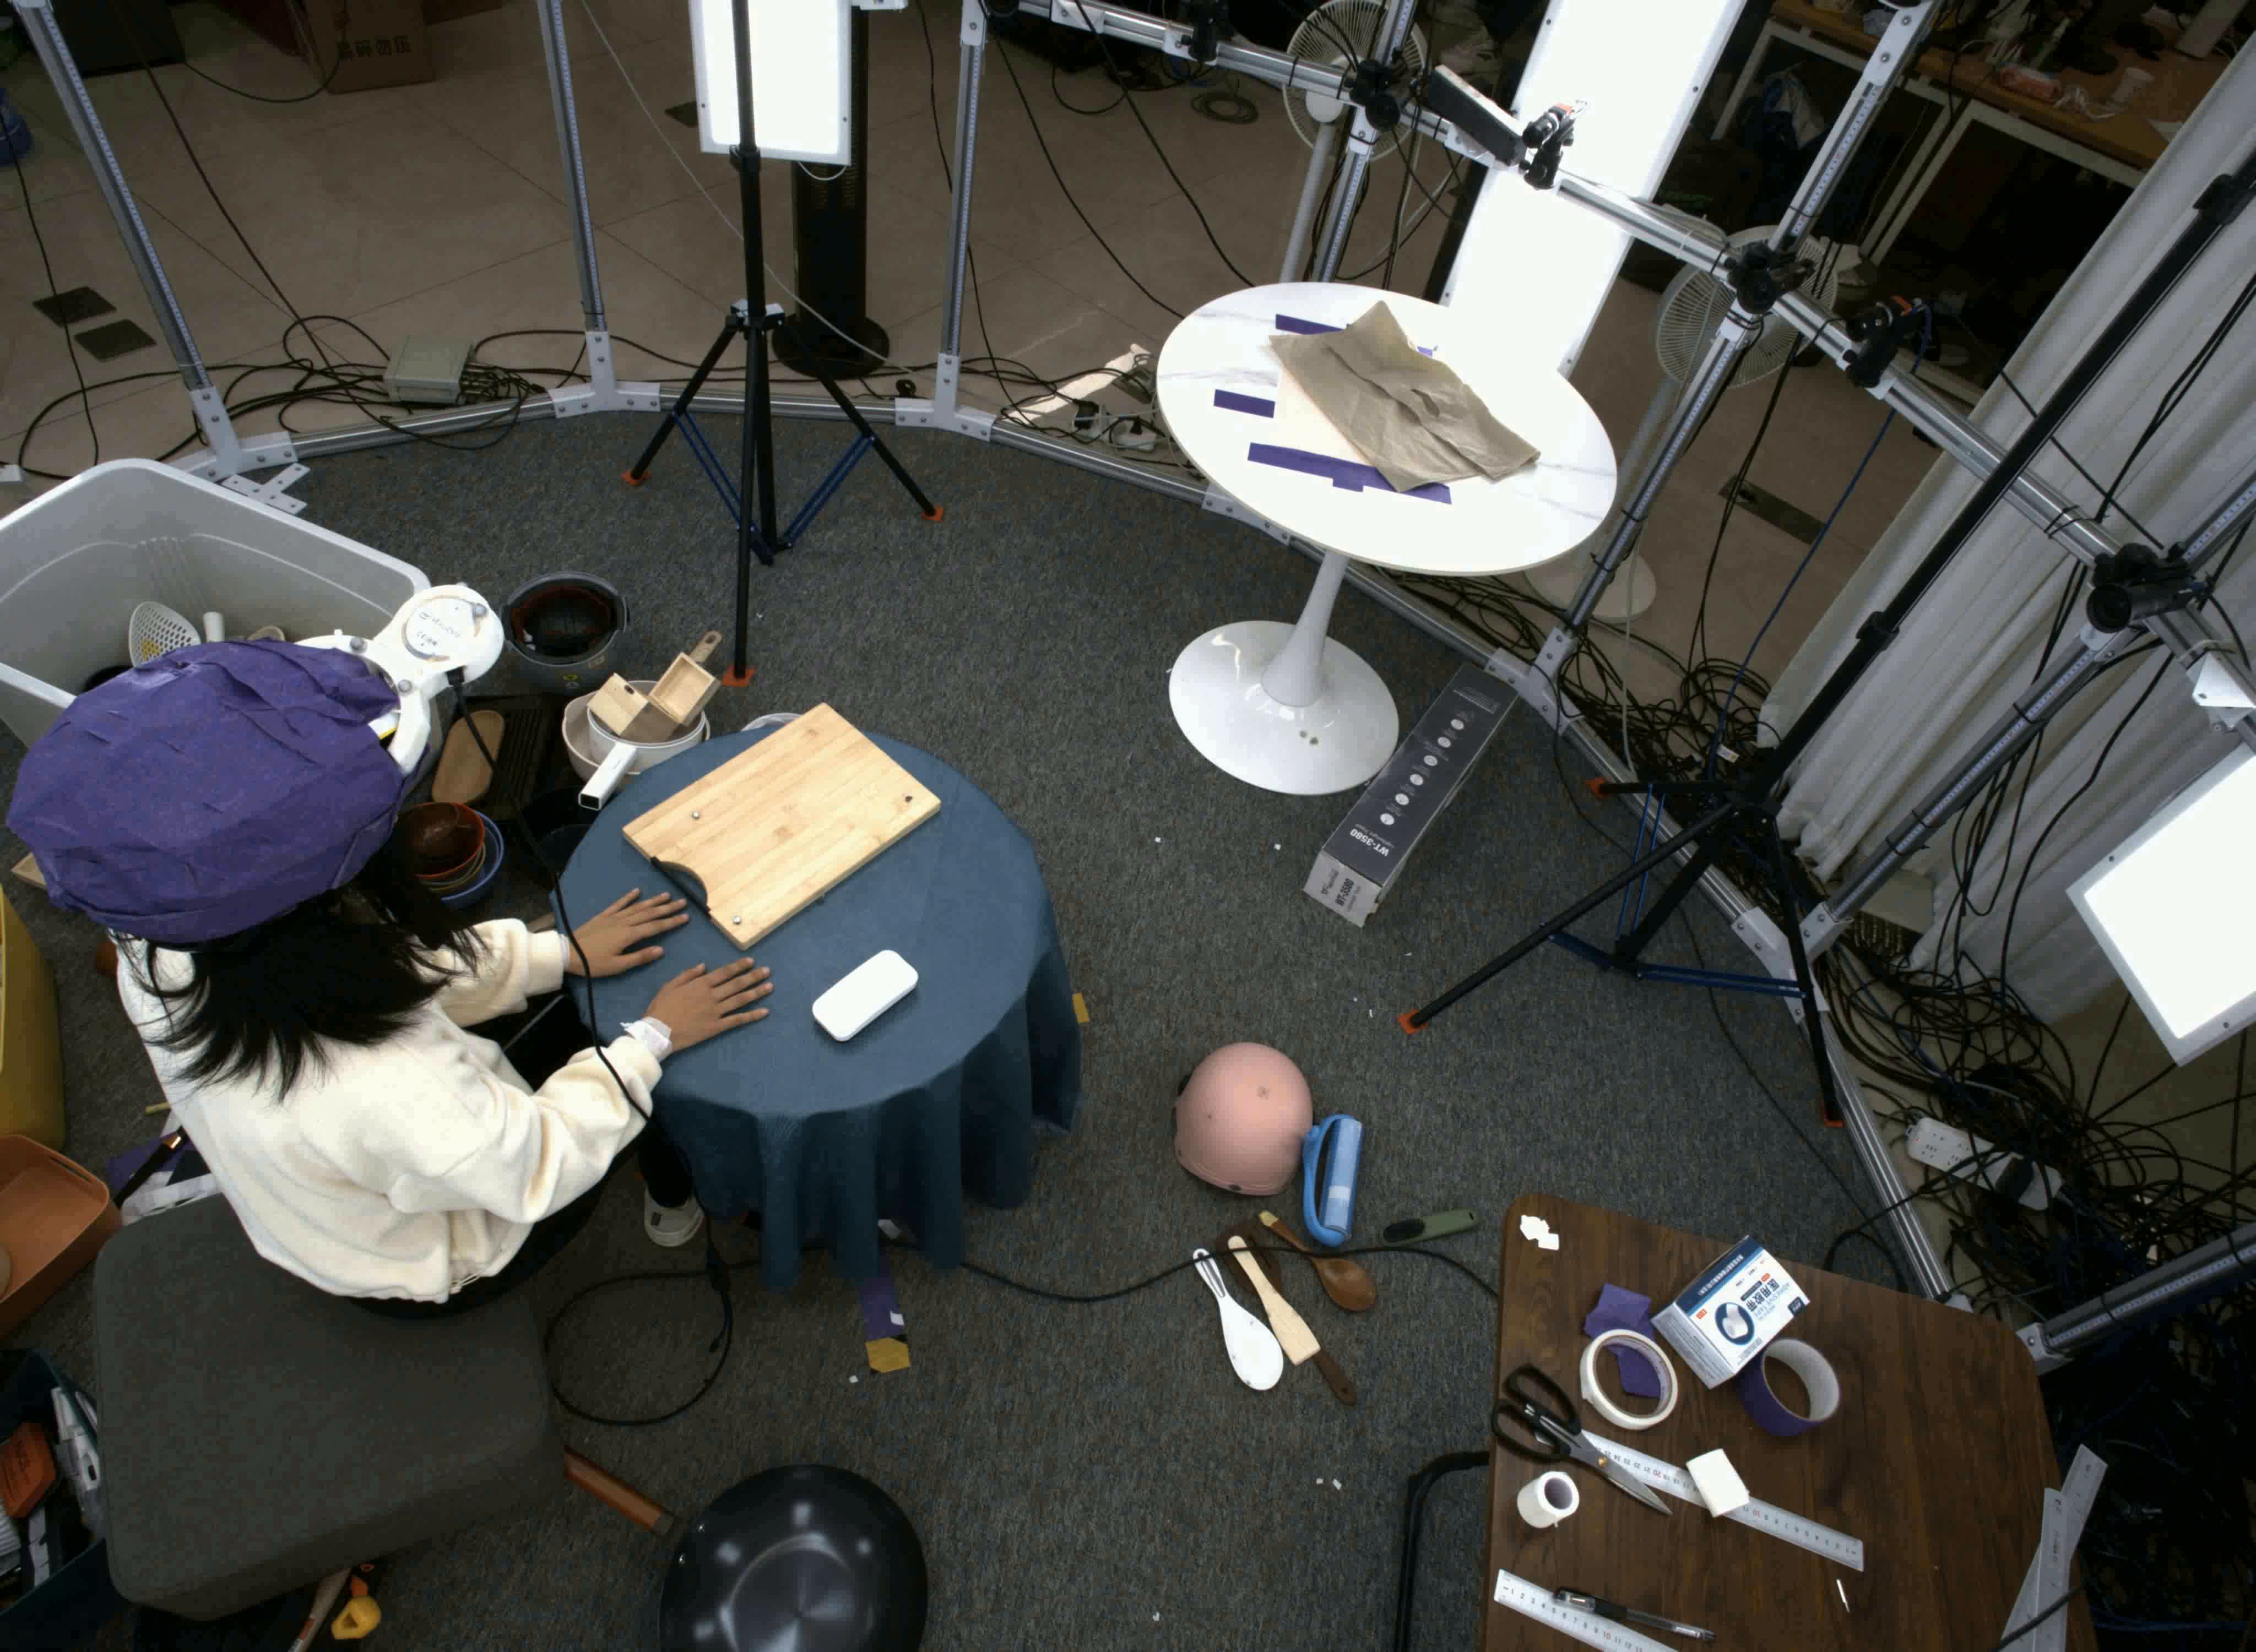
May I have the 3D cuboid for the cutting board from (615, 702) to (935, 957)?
[{"bbox_3d":[-0.458,-0.008,1.705,0.245,0.024,0.349,38,54,14],"label":"cutting board"}]

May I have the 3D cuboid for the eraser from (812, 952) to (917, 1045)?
[{"bbox_3d":[-0.319,0.204,1.574,0.062,0.035,0.131,41,54,17],"label":"eraser"}]
